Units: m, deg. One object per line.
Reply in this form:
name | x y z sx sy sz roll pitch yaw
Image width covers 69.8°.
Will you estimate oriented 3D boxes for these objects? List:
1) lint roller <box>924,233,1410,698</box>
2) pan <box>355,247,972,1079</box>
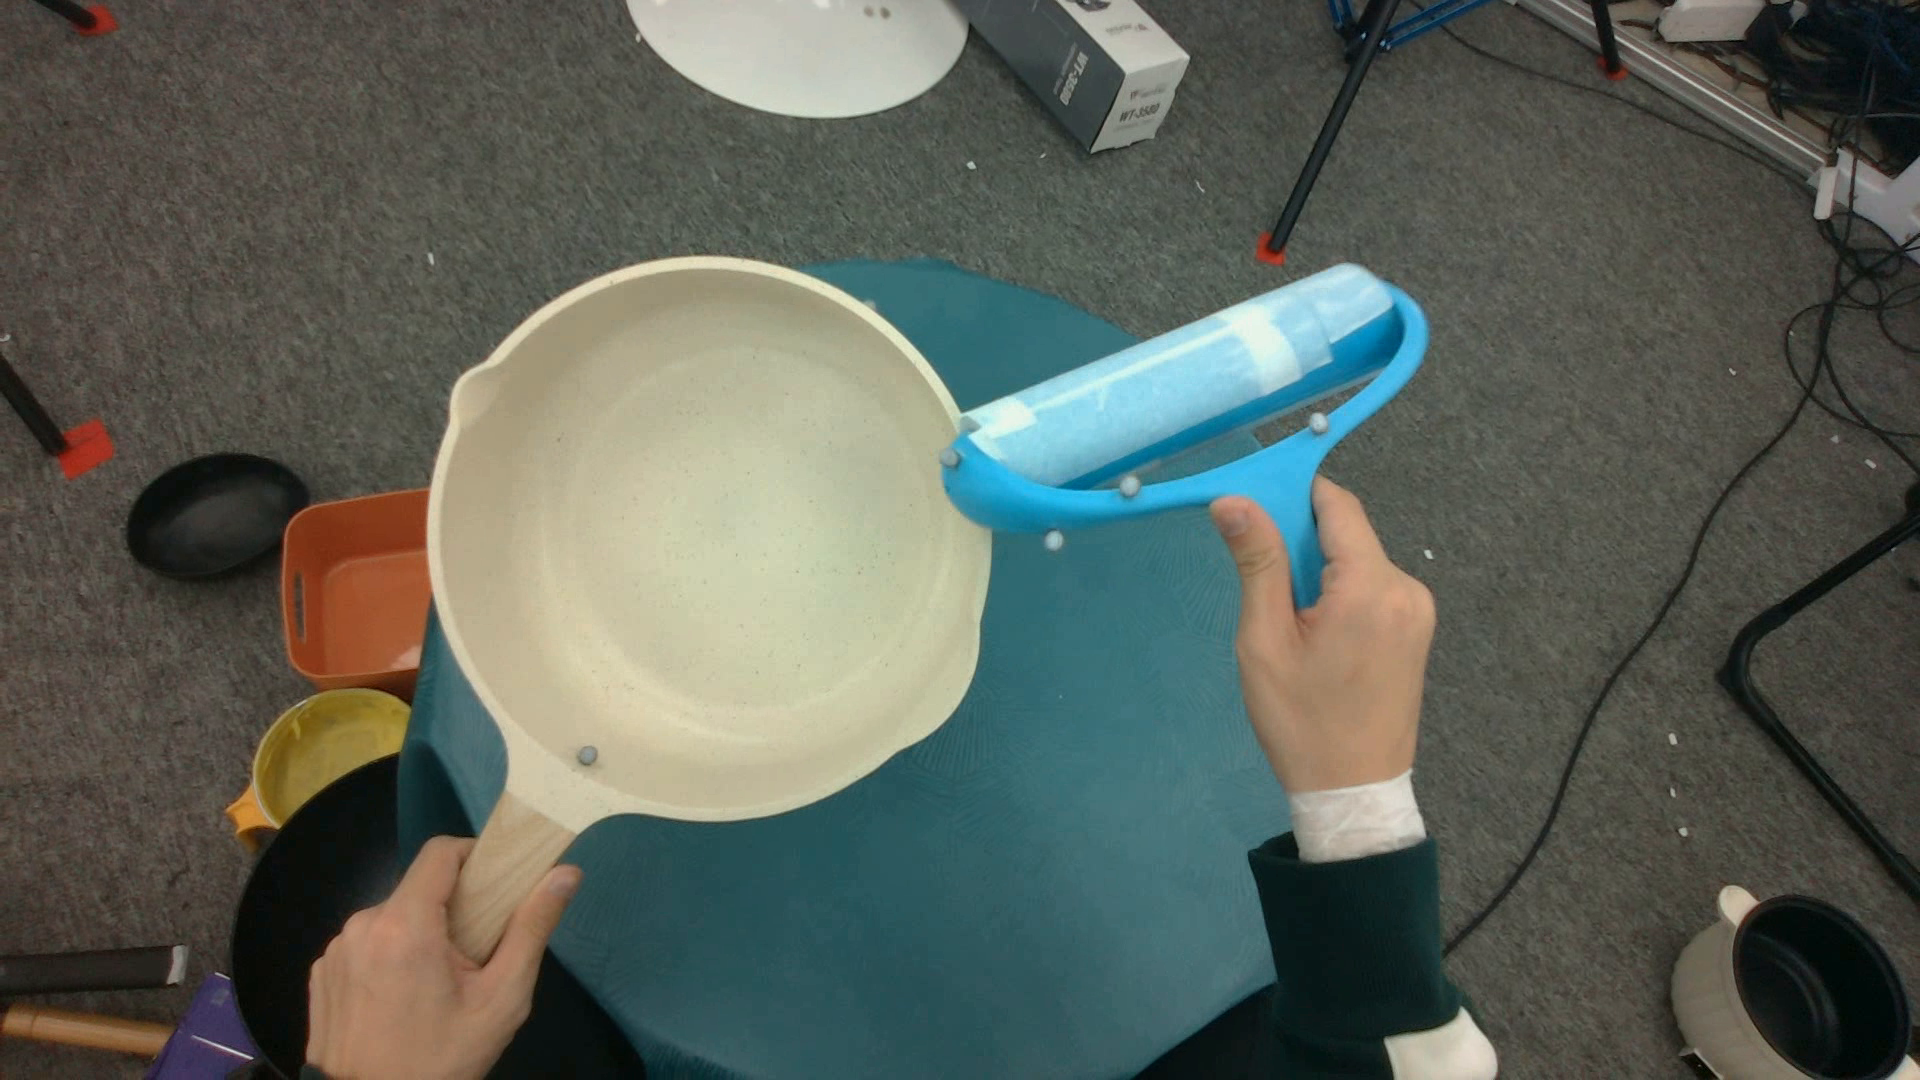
lint roller | 0.118 -0.021 0.575 0.229 0.067 0.180 -28 77 -16
pan | -0.163 0.075 0.647 0.263 0.102 0.434 29 94 0
